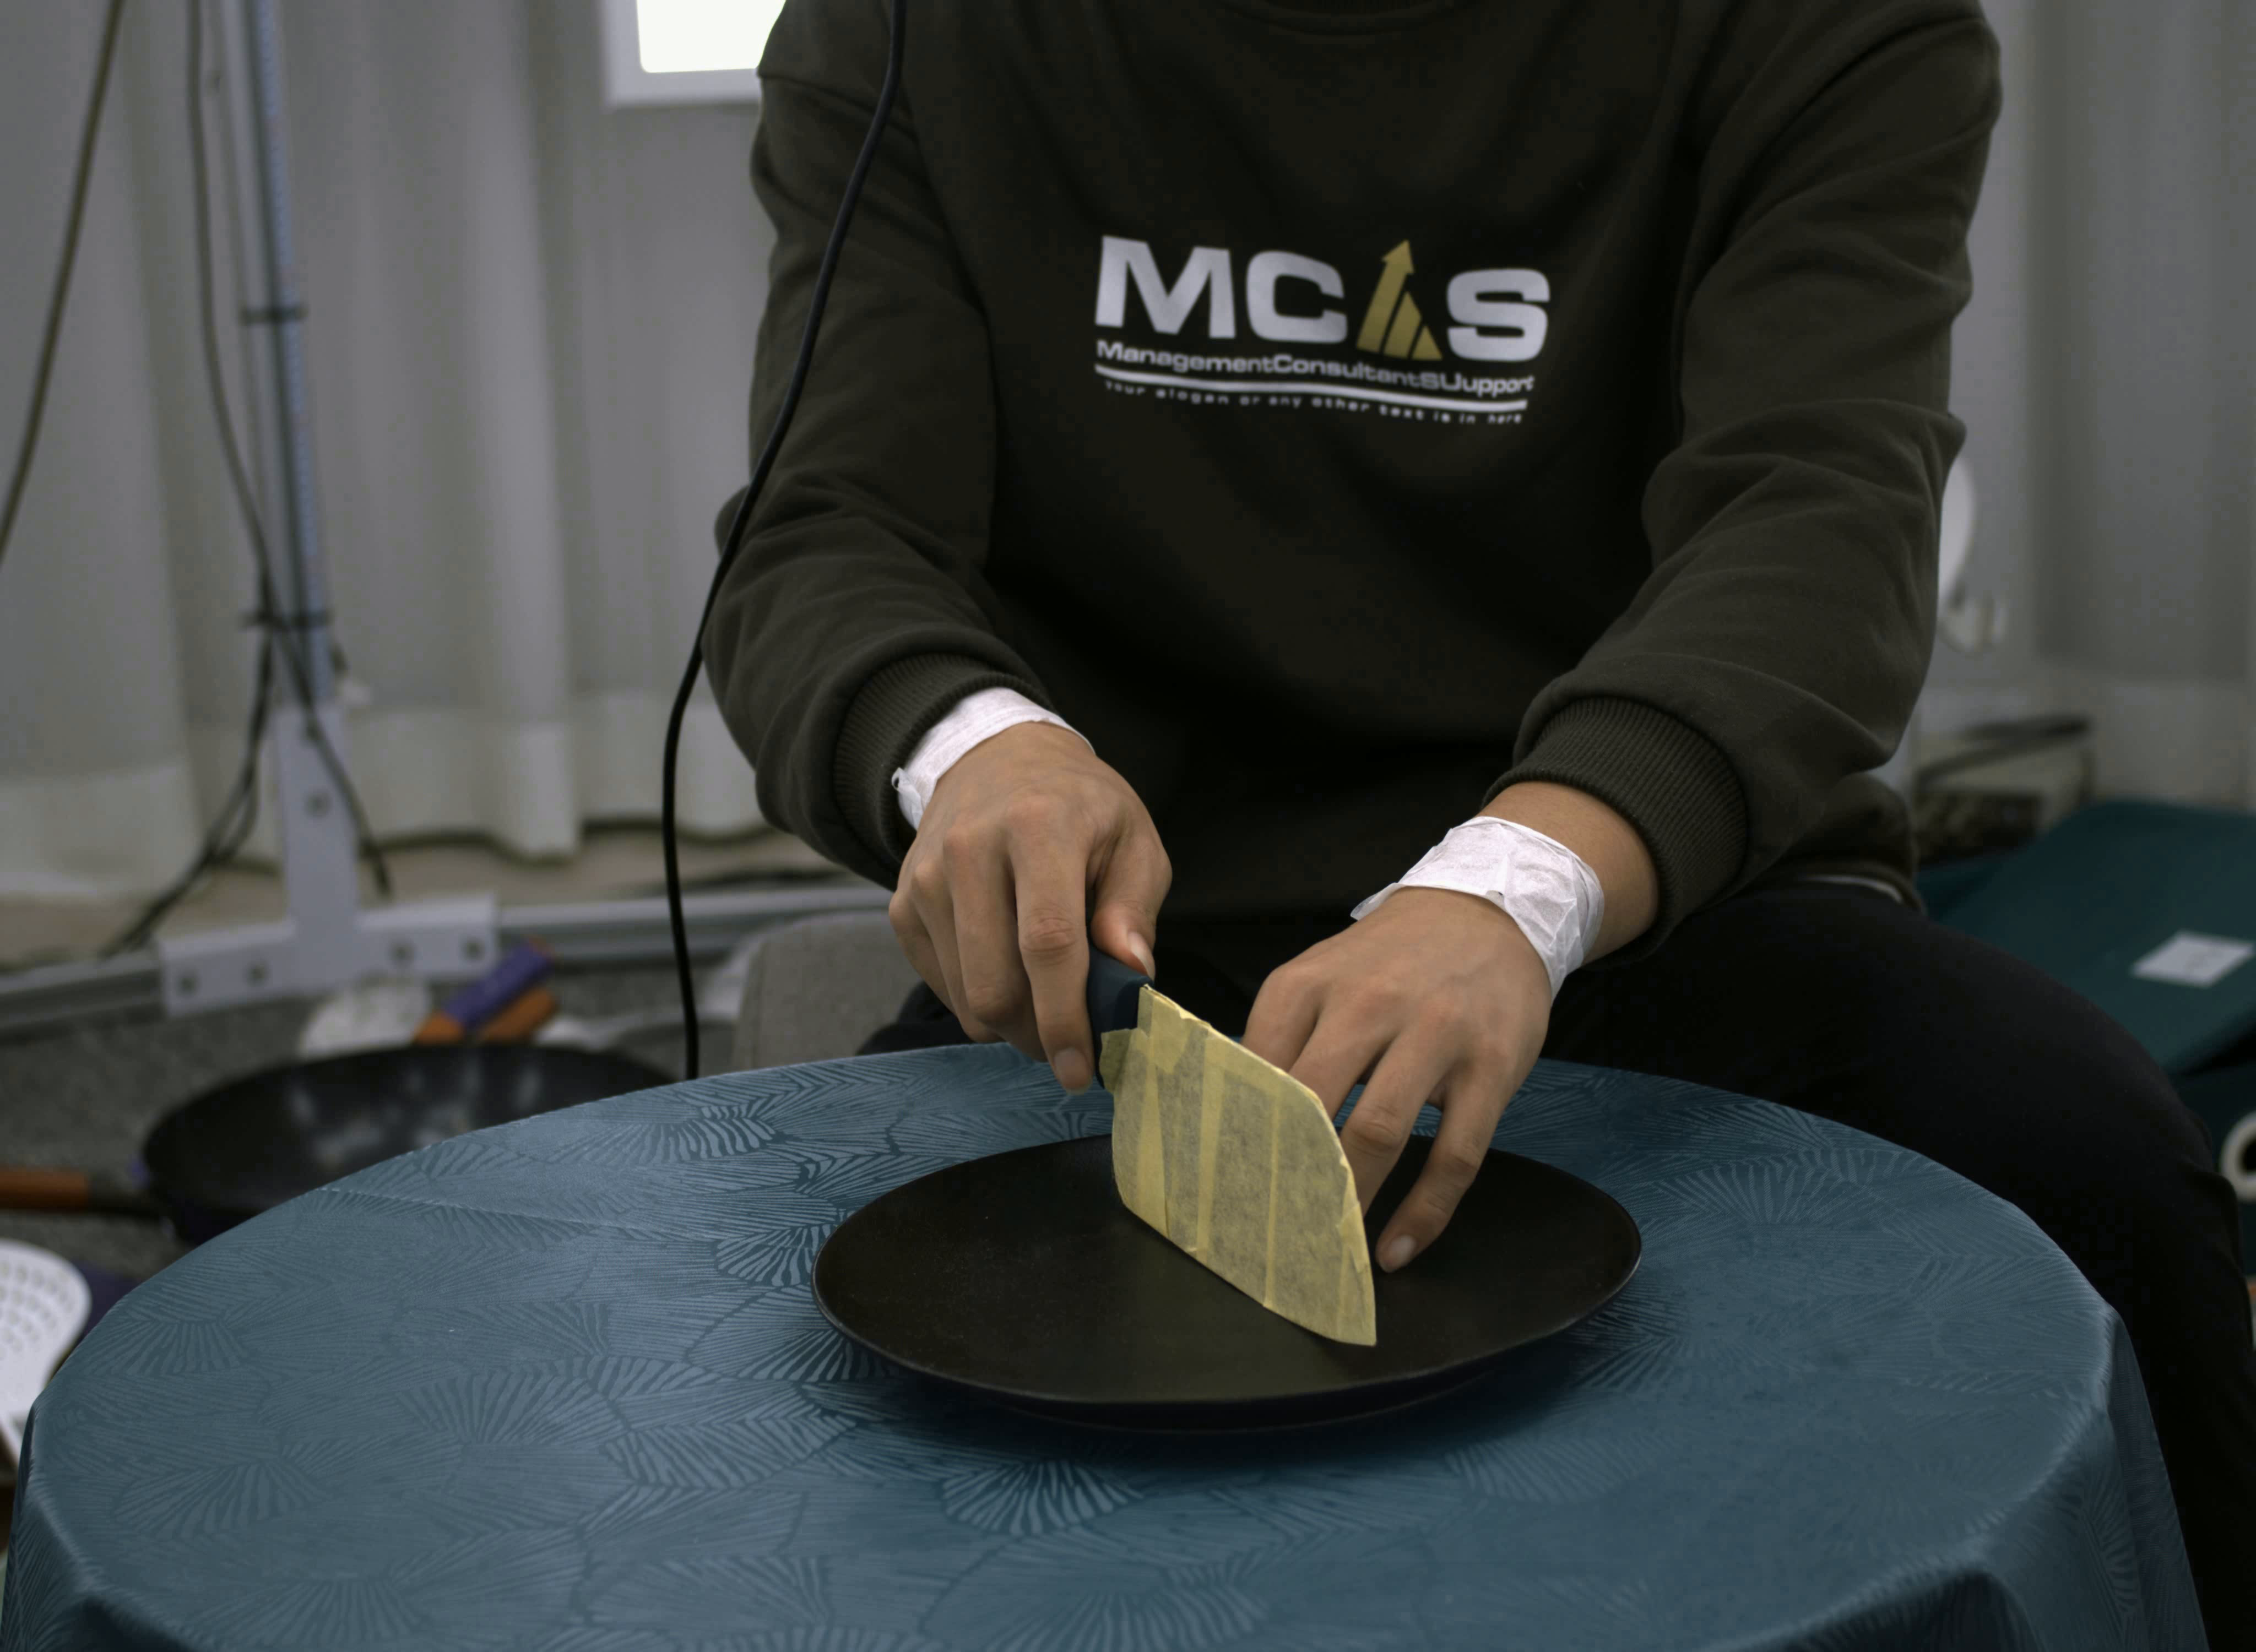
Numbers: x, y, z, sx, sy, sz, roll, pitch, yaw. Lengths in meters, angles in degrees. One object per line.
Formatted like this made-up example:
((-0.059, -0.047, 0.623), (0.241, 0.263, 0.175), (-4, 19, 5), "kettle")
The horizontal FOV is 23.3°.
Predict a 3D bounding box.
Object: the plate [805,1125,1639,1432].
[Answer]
((0.027, 0.134, 1.594), (0.243, 0.023, 0.246), (-3, 15, 0), "plate")

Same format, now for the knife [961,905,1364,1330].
((0.009, 0.083, 1.647), (0.027, 0.081, 0.292), (0, 17, -24), "knife")
